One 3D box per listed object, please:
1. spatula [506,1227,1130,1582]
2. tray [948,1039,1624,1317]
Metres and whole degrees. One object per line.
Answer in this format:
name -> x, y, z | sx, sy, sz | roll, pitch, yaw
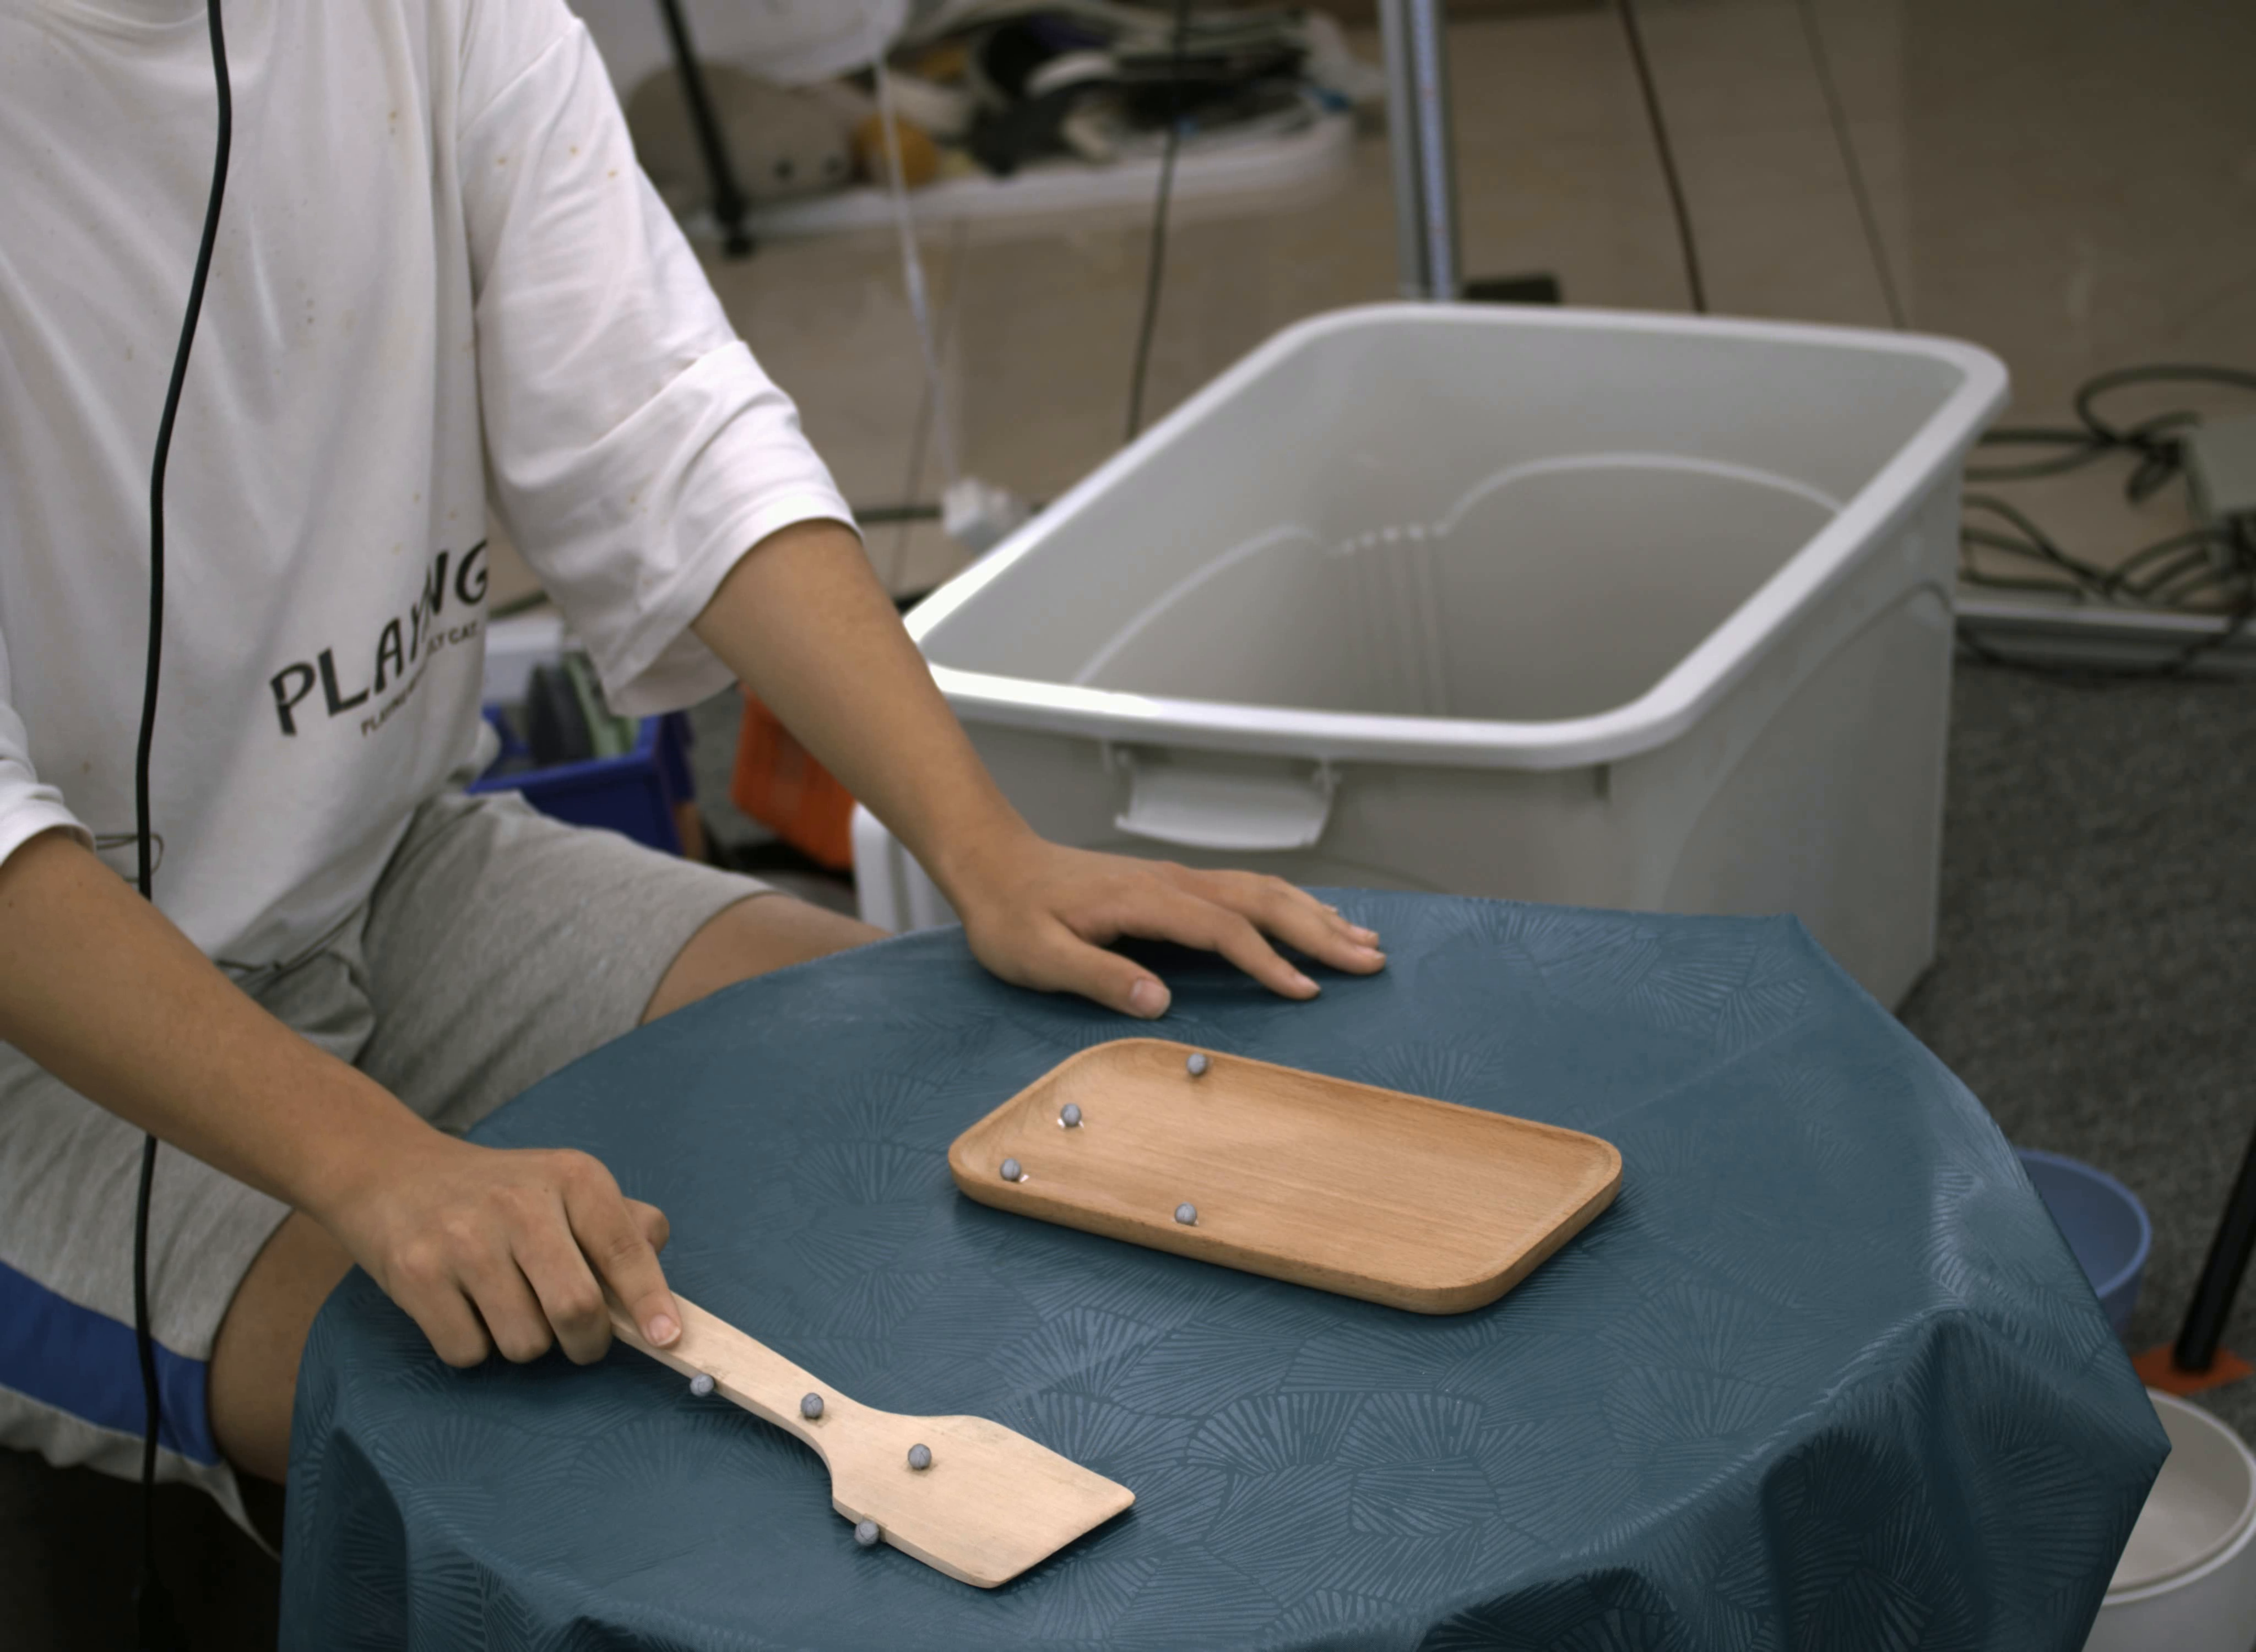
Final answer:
spatula -> -0.123, 0.199, 2.014 | 0.071, 0.011, 0.290 | -29, 37, -36
tray -> 0.058, 0.131, 2.131 | 0.249, 0.023, 0.129 | 13, 33, 35
